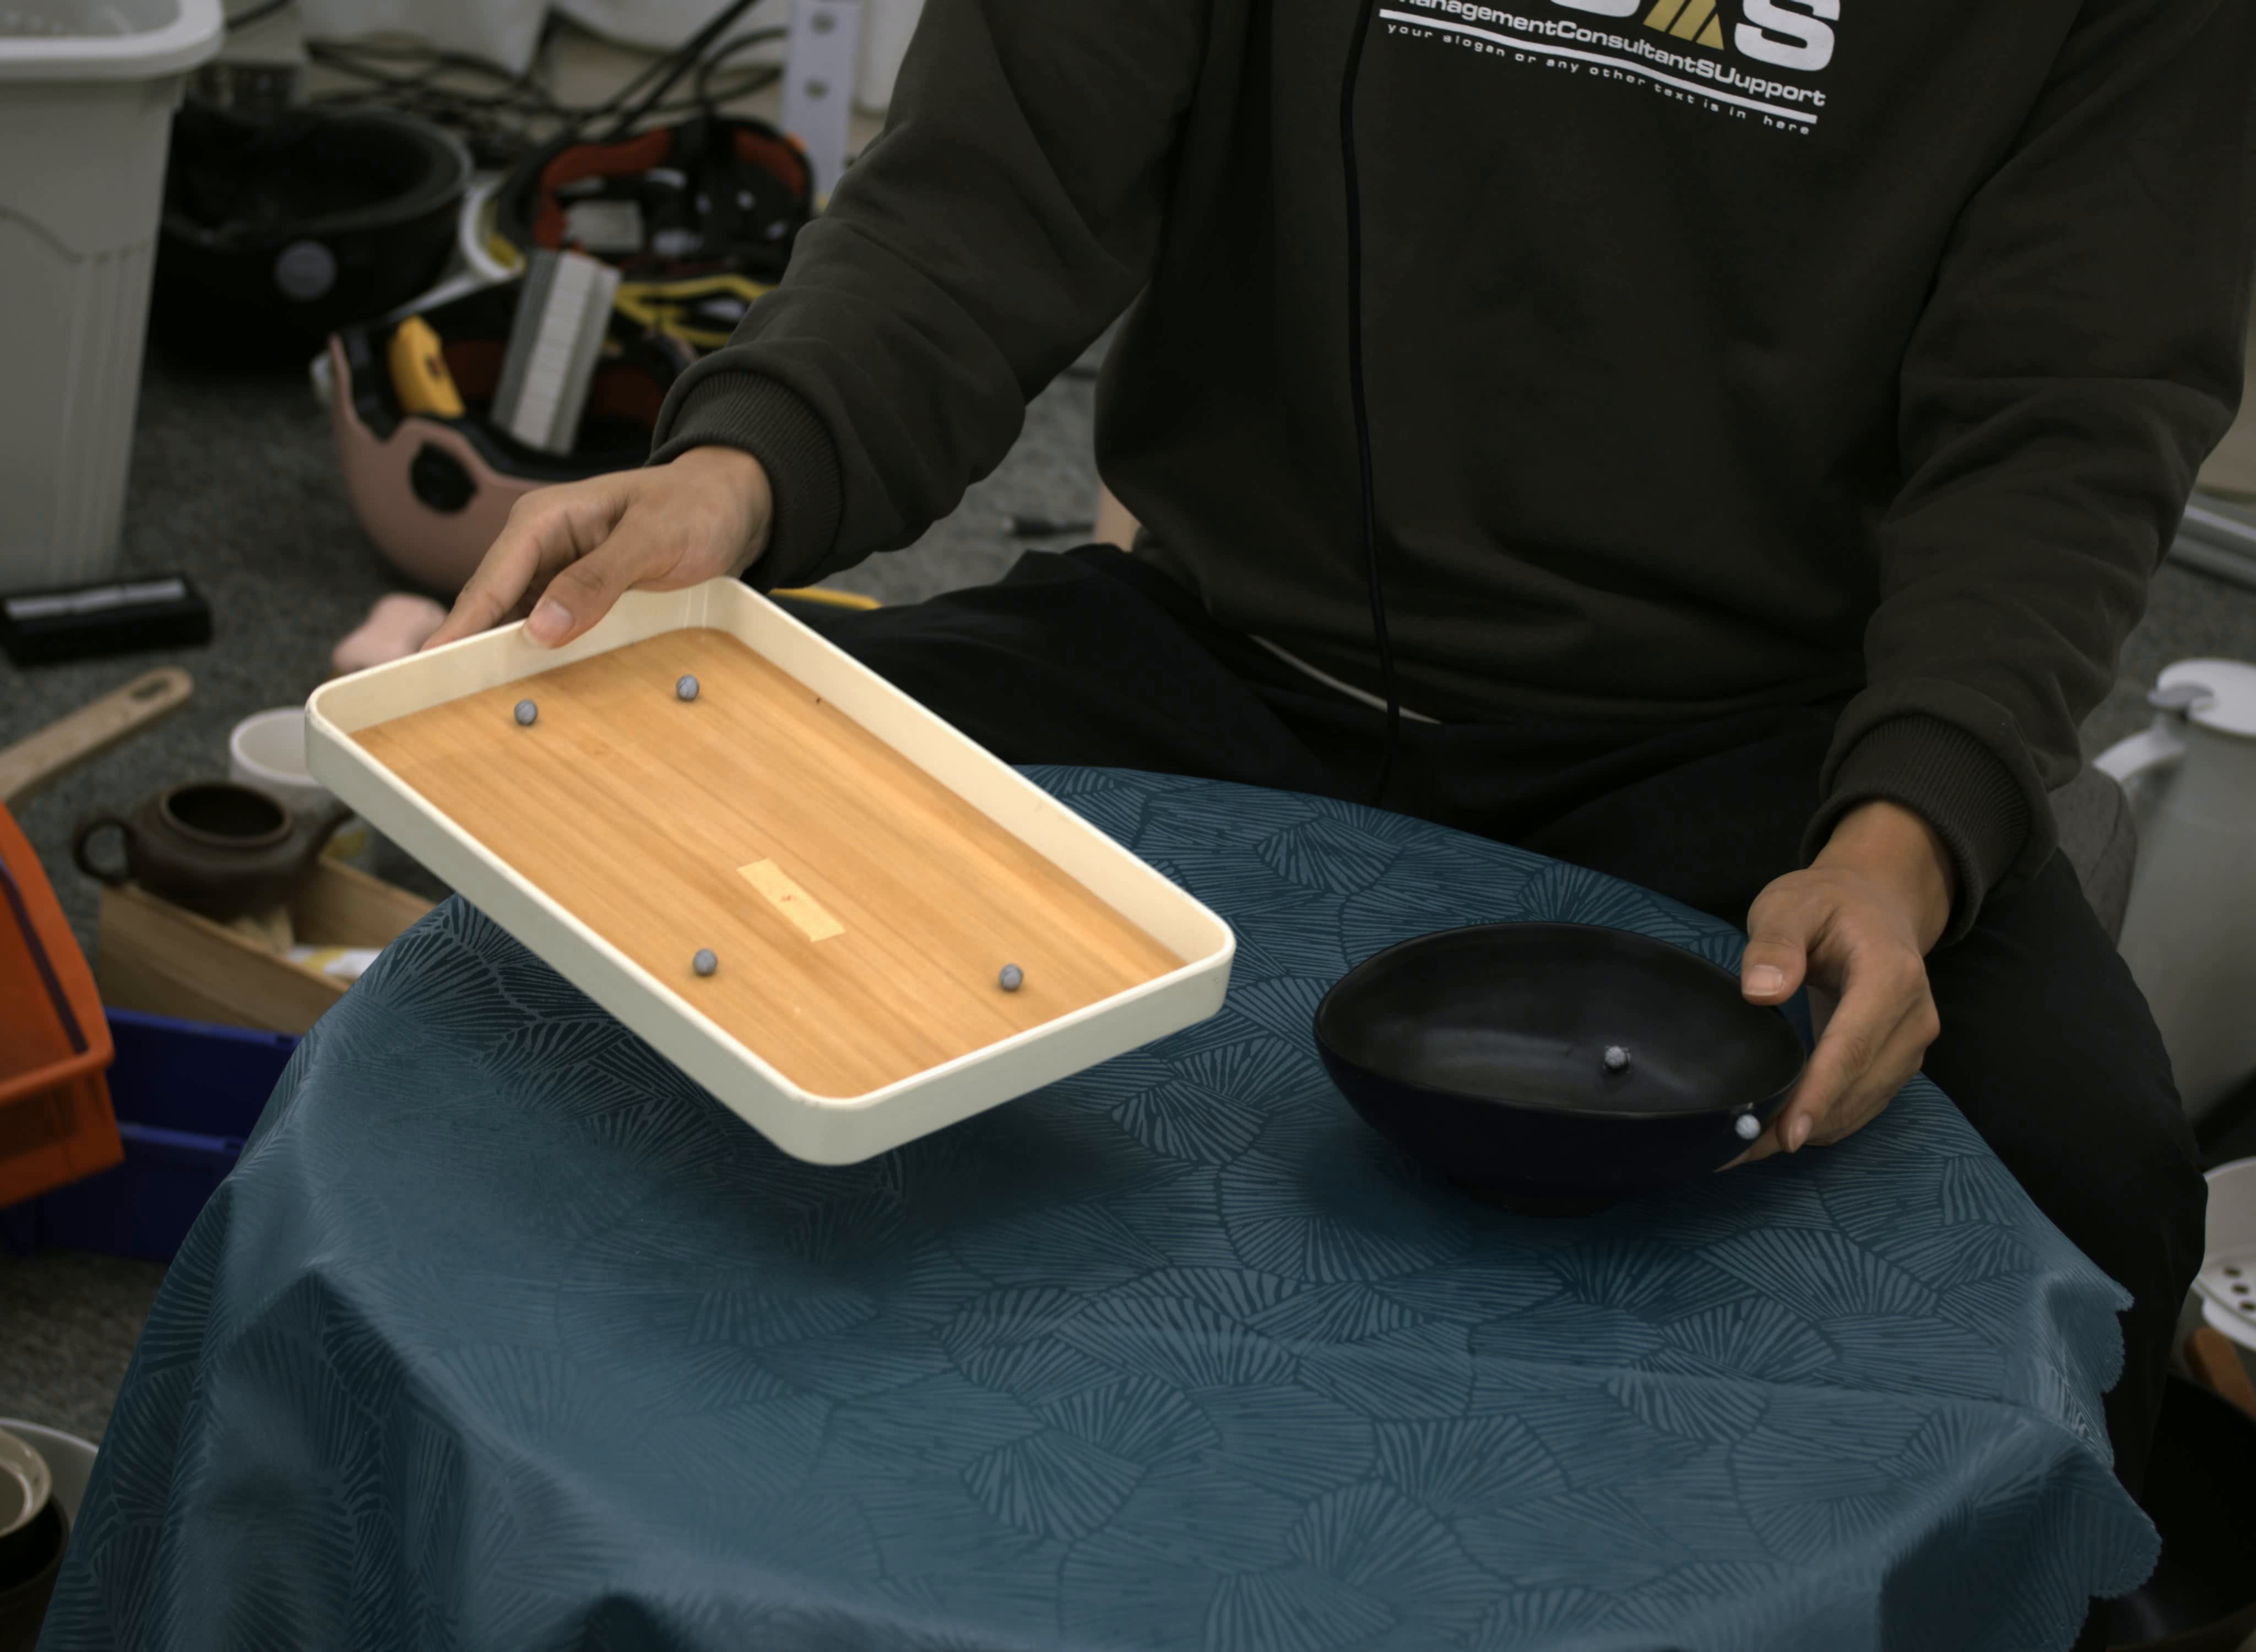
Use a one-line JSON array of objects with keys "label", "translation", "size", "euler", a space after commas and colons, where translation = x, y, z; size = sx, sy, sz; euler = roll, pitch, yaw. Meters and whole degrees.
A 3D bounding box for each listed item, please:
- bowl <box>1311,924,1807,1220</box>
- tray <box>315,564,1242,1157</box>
[{"label": "bowl", "translation": [0.146, 0.093, 1.835], "size": [0.170, 0.066, 0.138], "euler": [3, 25, -3]}, {"label": "tray", "translation": [-0.124, 0.006, 1.830], "size": [0.190, 0.027, 0.303], "euler": [-21, 41, -37]}]
